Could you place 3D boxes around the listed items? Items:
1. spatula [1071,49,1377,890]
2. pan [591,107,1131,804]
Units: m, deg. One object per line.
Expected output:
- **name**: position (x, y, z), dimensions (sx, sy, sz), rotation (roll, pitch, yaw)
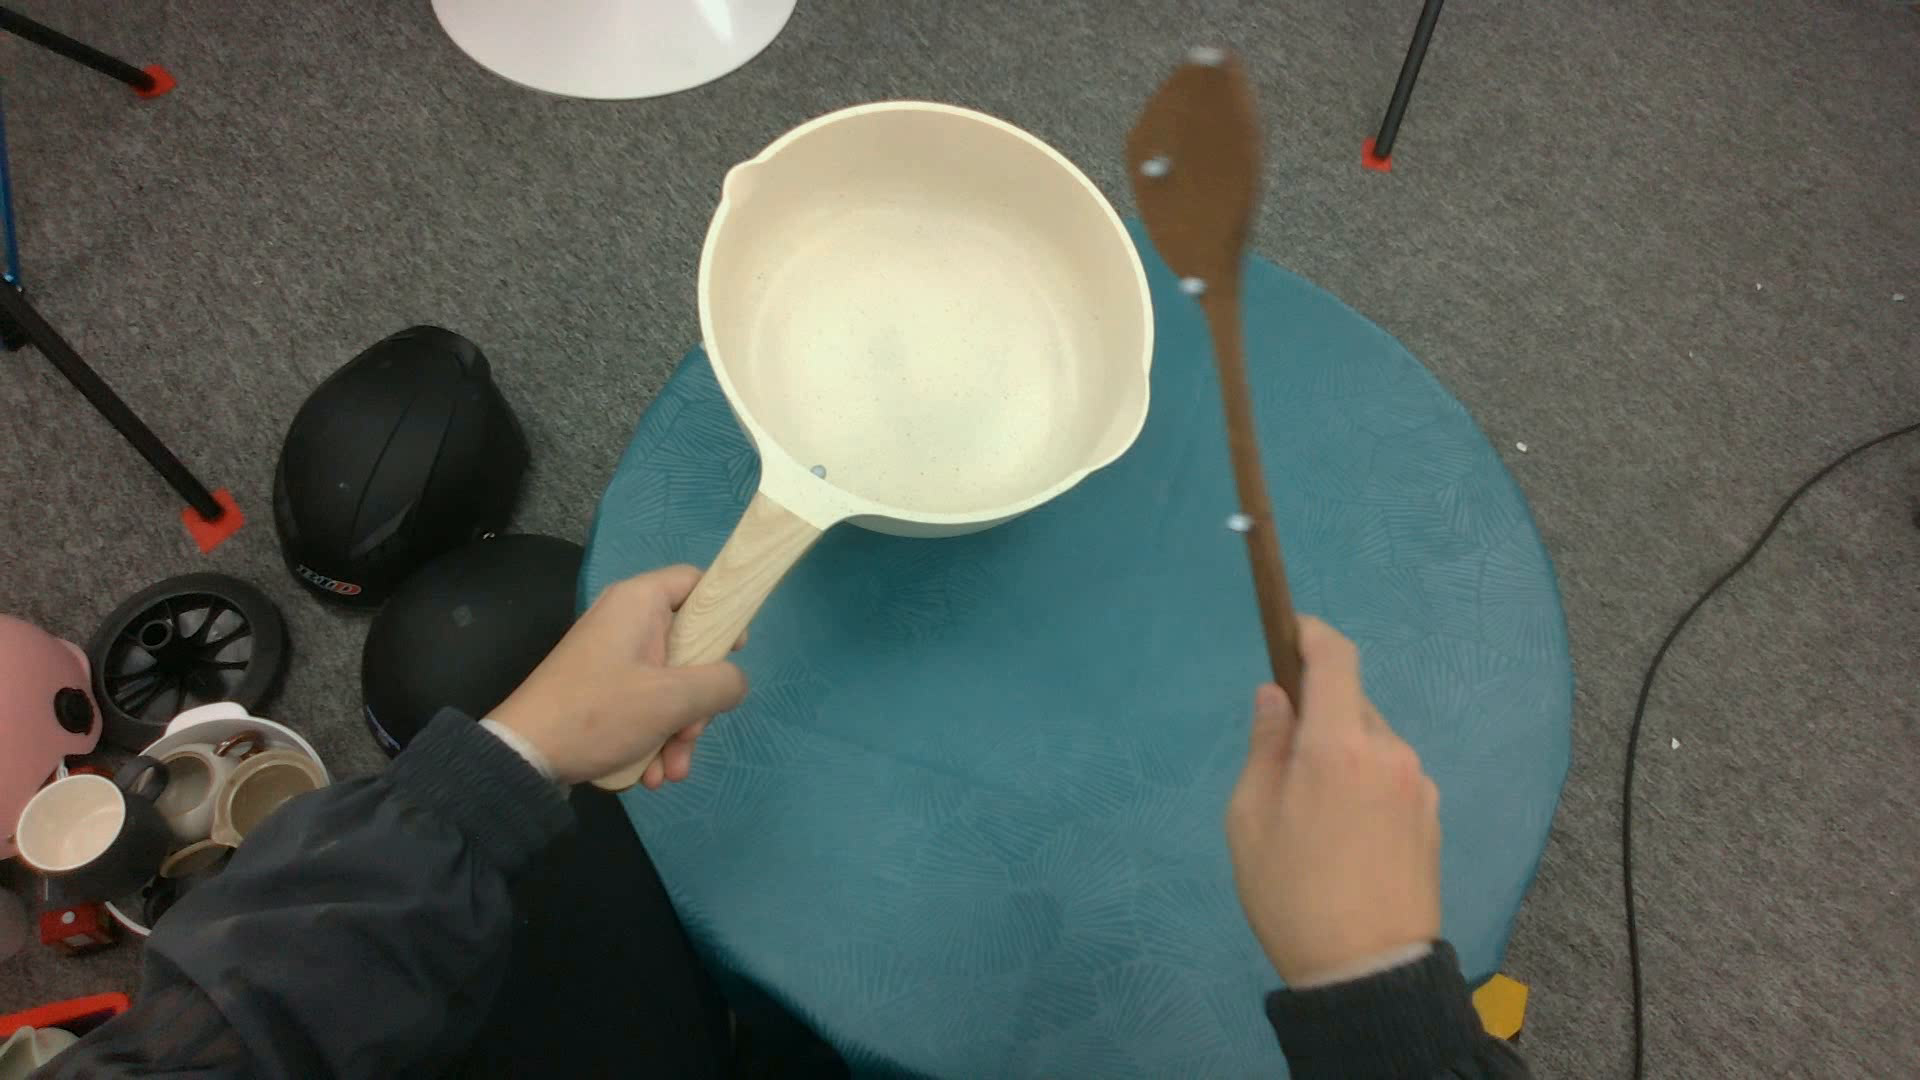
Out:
- **spatula**: position (0.116, -0.035, 0.612), dimensions (0.016, 0.096, 0.386), rotation (-13, 79, -13)
- **pan**: position (-0.074, -0.046, 0.759), dimensions (0.263, 0.101, 0.436), rotation (31, 69, -2)
